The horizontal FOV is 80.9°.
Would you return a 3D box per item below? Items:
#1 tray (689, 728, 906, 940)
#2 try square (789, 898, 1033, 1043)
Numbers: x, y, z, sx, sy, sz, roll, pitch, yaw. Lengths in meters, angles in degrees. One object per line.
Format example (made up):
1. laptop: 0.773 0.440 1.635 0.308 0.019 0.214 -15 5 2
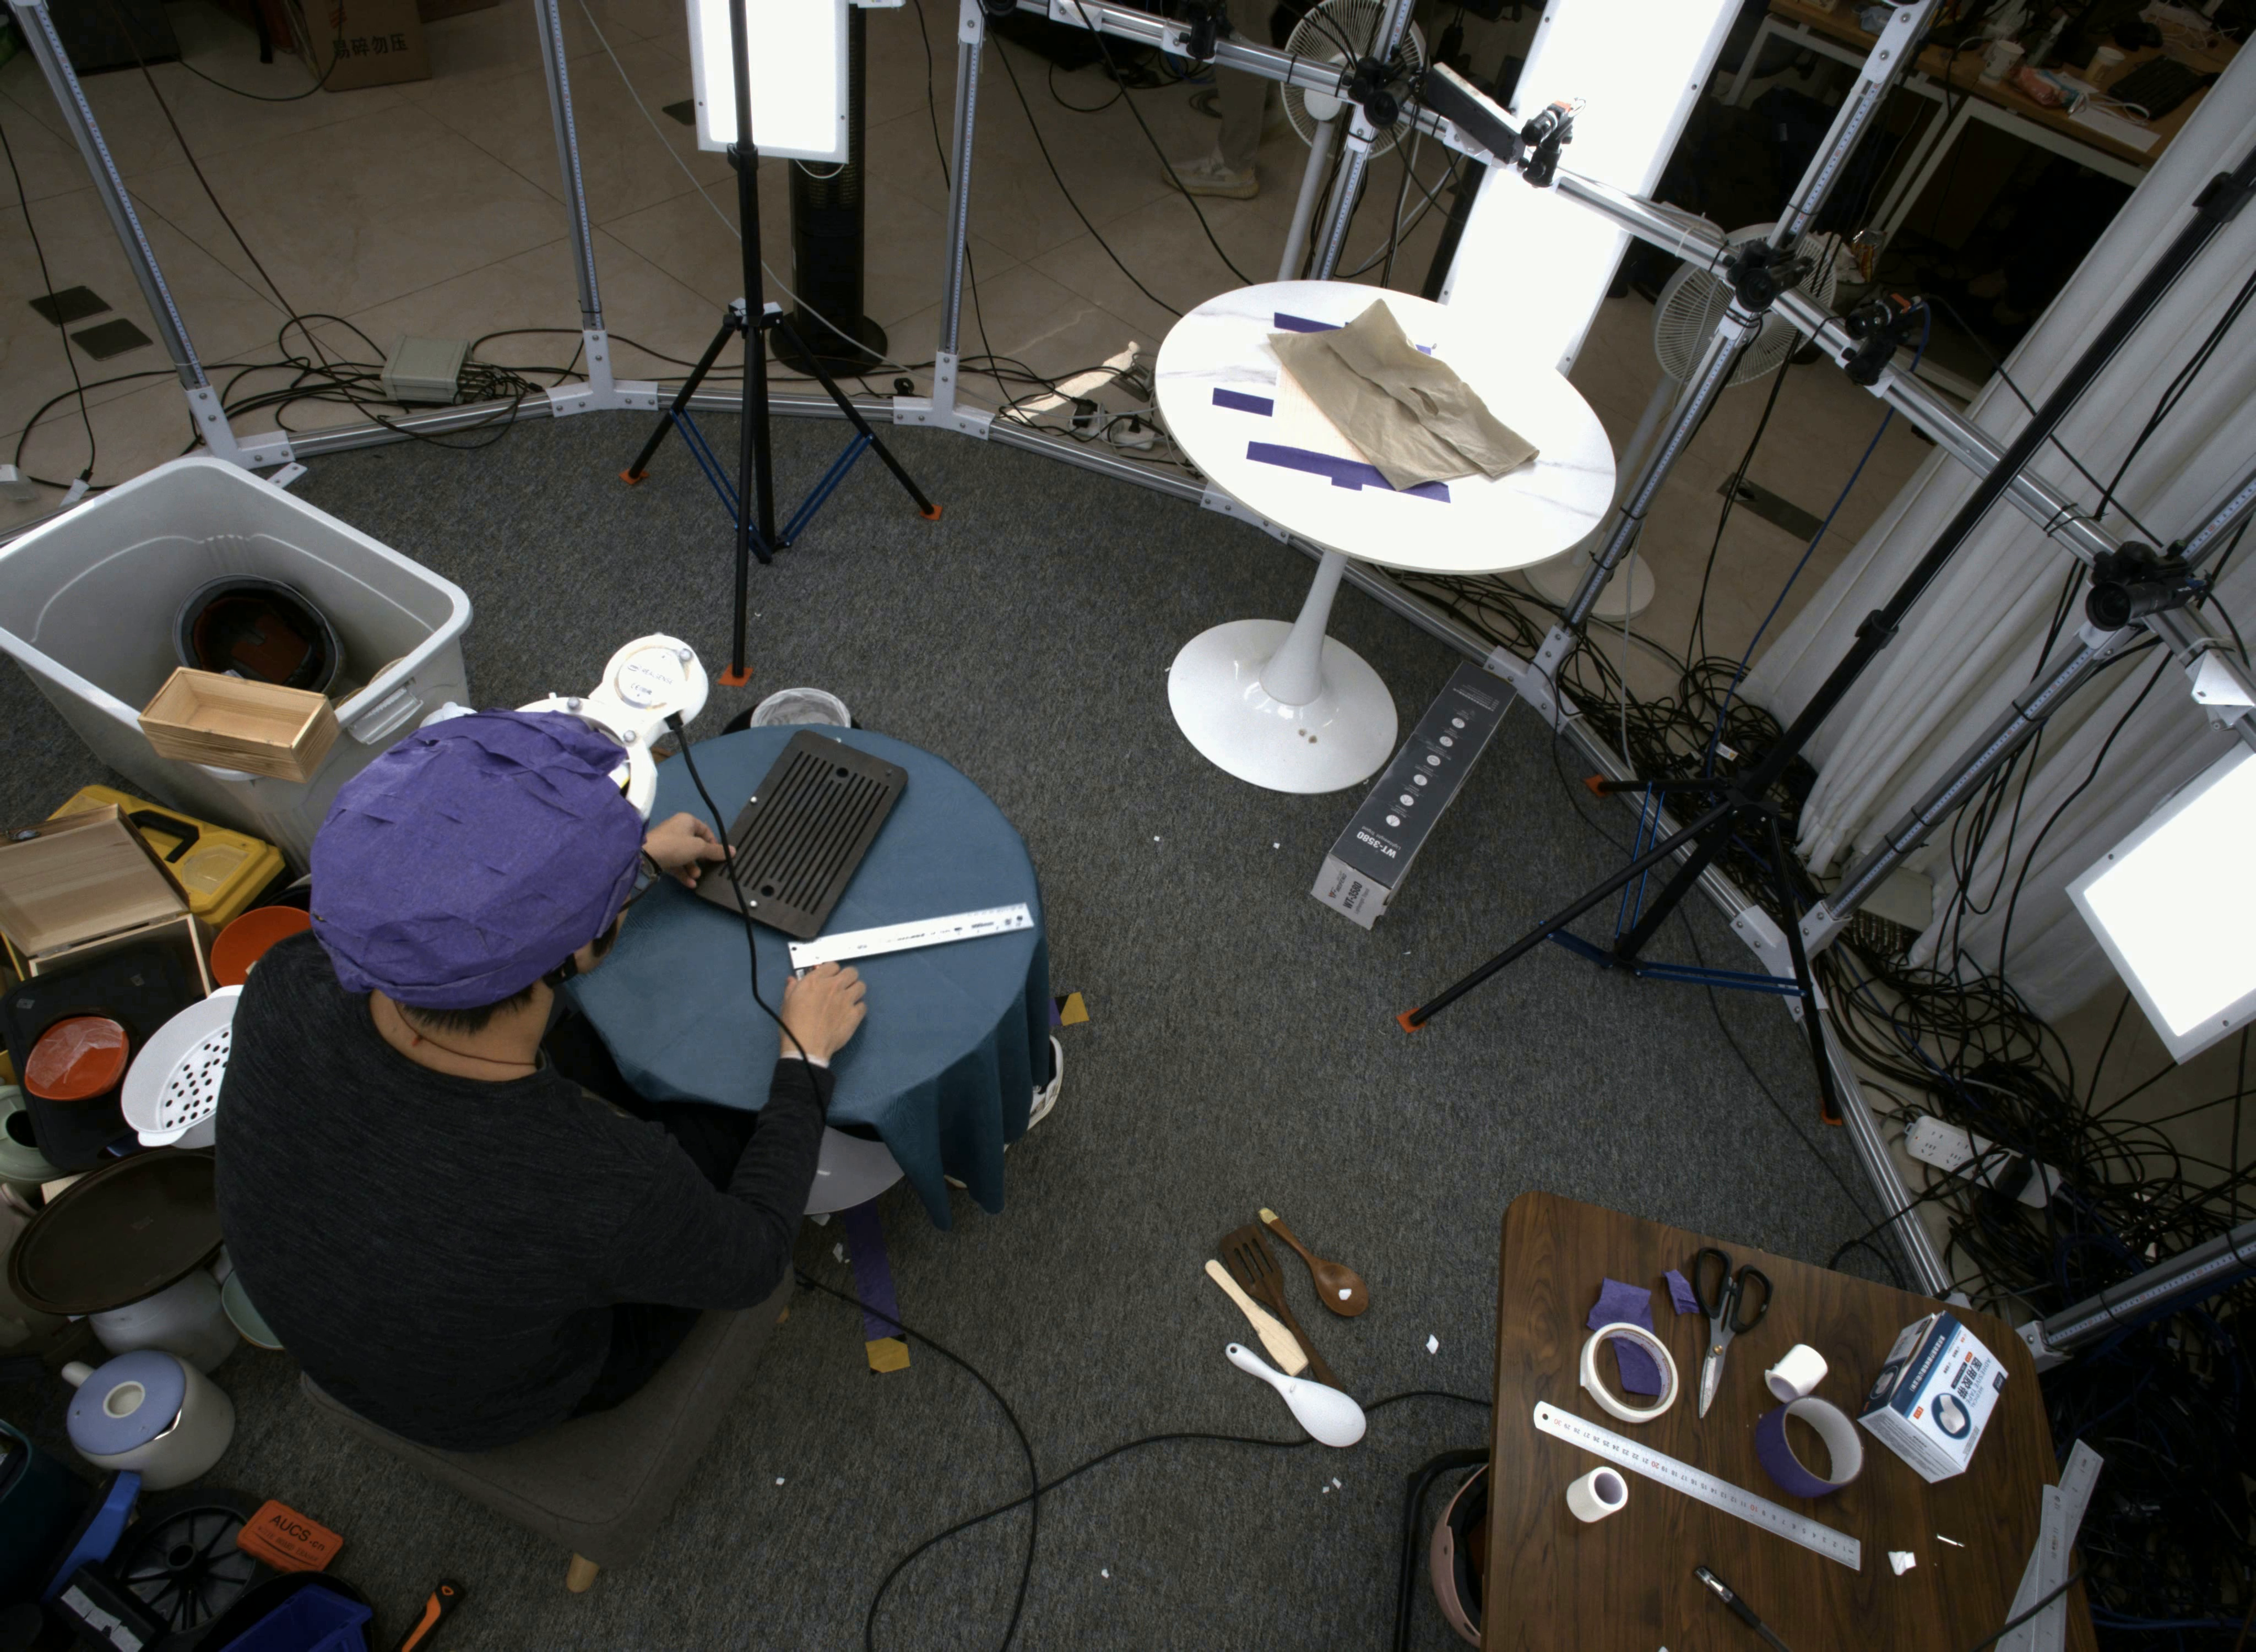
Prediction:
1. tray: -0.427 0.004 1.700 0.169 0.019 0.303 23 52 0
2. try square: -0.254 0.172 1.621 0.315 0.016 0.148 -9 52 -22
